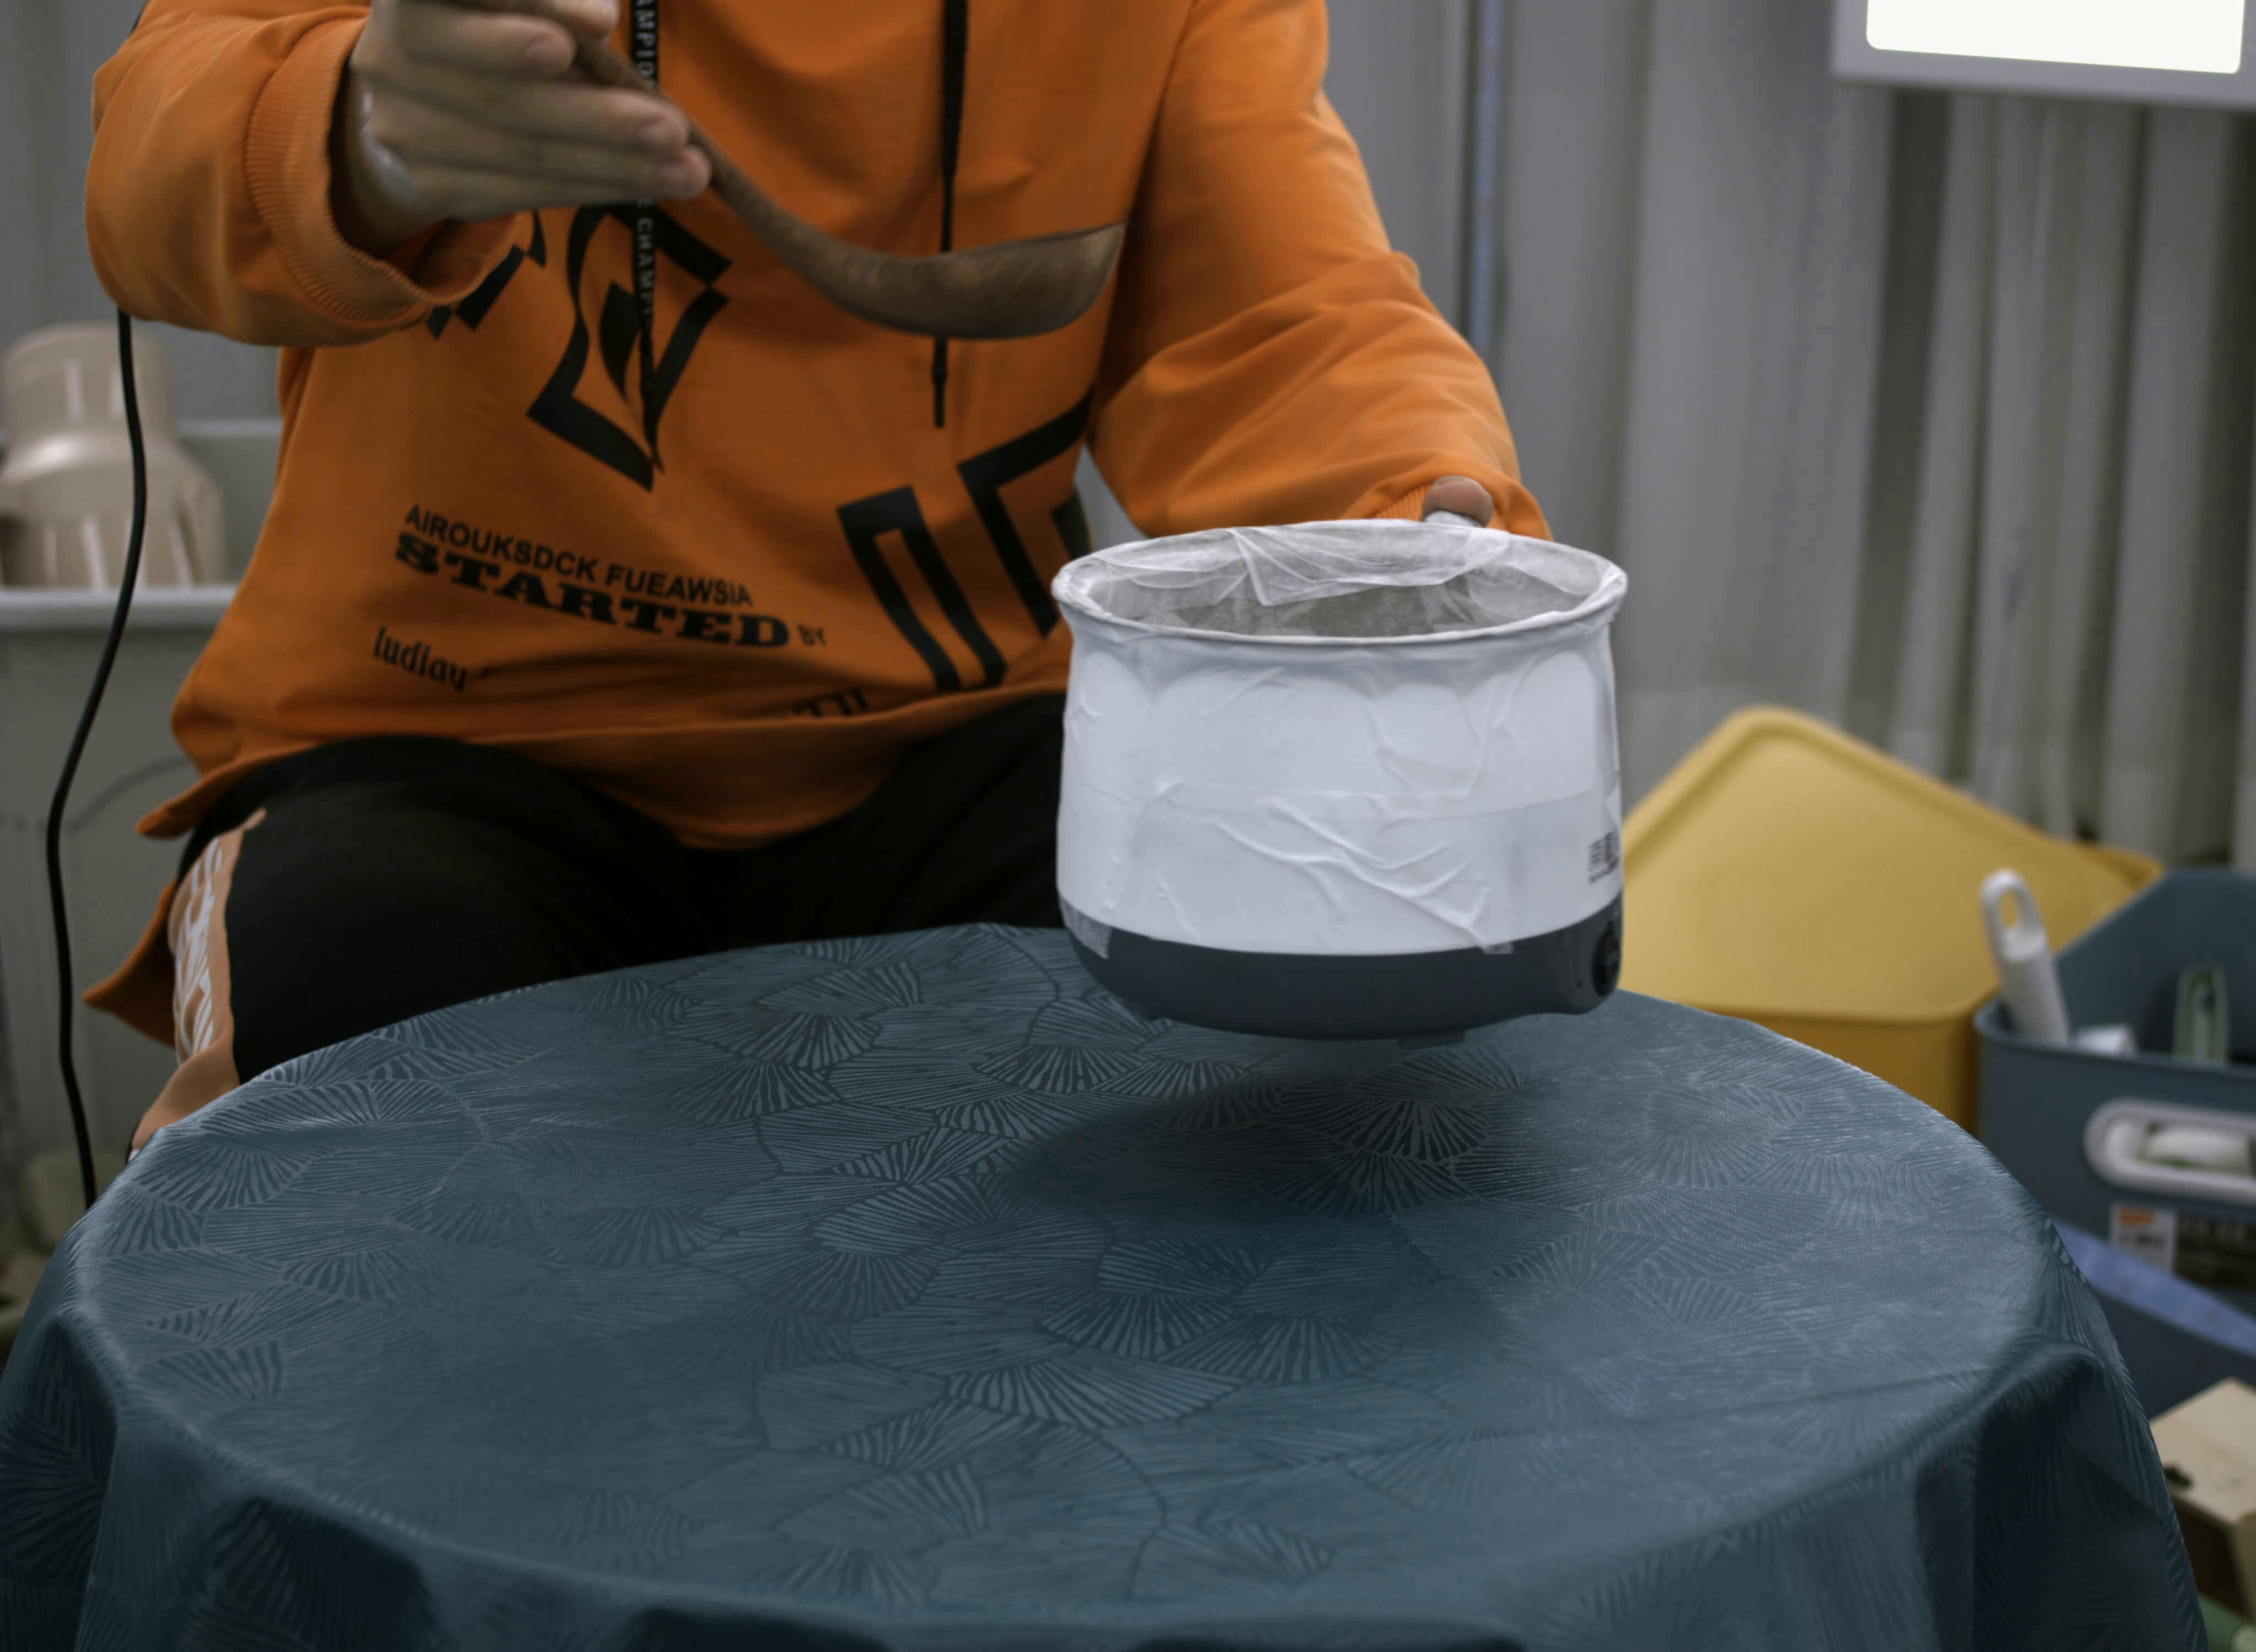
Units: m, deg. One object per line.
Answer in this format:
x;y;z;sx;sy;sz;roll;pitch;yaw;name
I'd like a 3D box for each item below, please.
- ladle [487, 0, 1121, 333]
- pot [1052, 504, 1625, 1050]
-0.119;-0.216;1.531;0.262;0.065;0.076;32;-11;-20;ladle
0.075;-0.022;1.660;0.177;0.138;0.234;6;16;21;pot
